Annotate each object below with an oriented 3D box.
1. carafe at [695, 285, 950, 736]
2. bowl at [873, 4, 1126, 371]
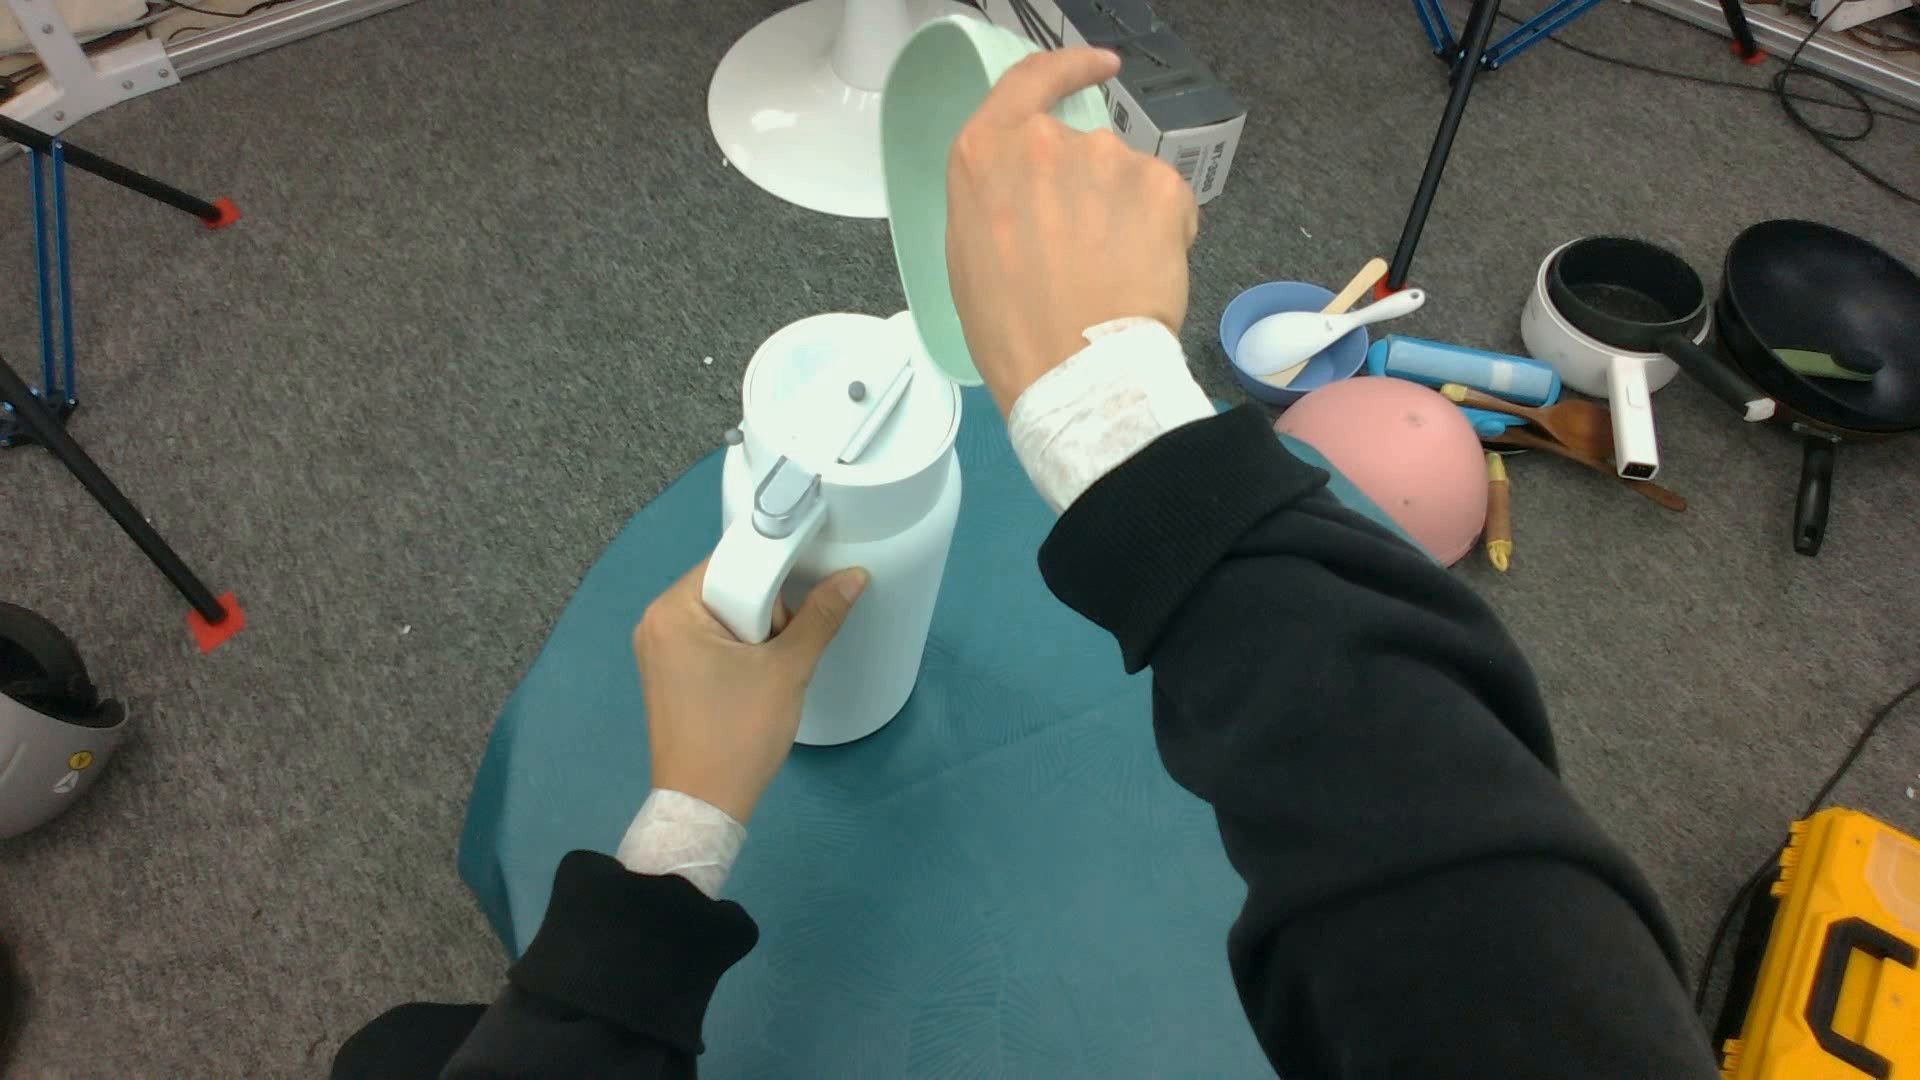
[{"bbox_3d":[-0.079,0.011,0.714,0.124,0.267,0.173,26,57,4],"label":"carafe"},{"bbox_3d":[0.019,-0.142,0.553,0.059,0.150,0.152,-15,57,-20],"label":"bowl"}]
